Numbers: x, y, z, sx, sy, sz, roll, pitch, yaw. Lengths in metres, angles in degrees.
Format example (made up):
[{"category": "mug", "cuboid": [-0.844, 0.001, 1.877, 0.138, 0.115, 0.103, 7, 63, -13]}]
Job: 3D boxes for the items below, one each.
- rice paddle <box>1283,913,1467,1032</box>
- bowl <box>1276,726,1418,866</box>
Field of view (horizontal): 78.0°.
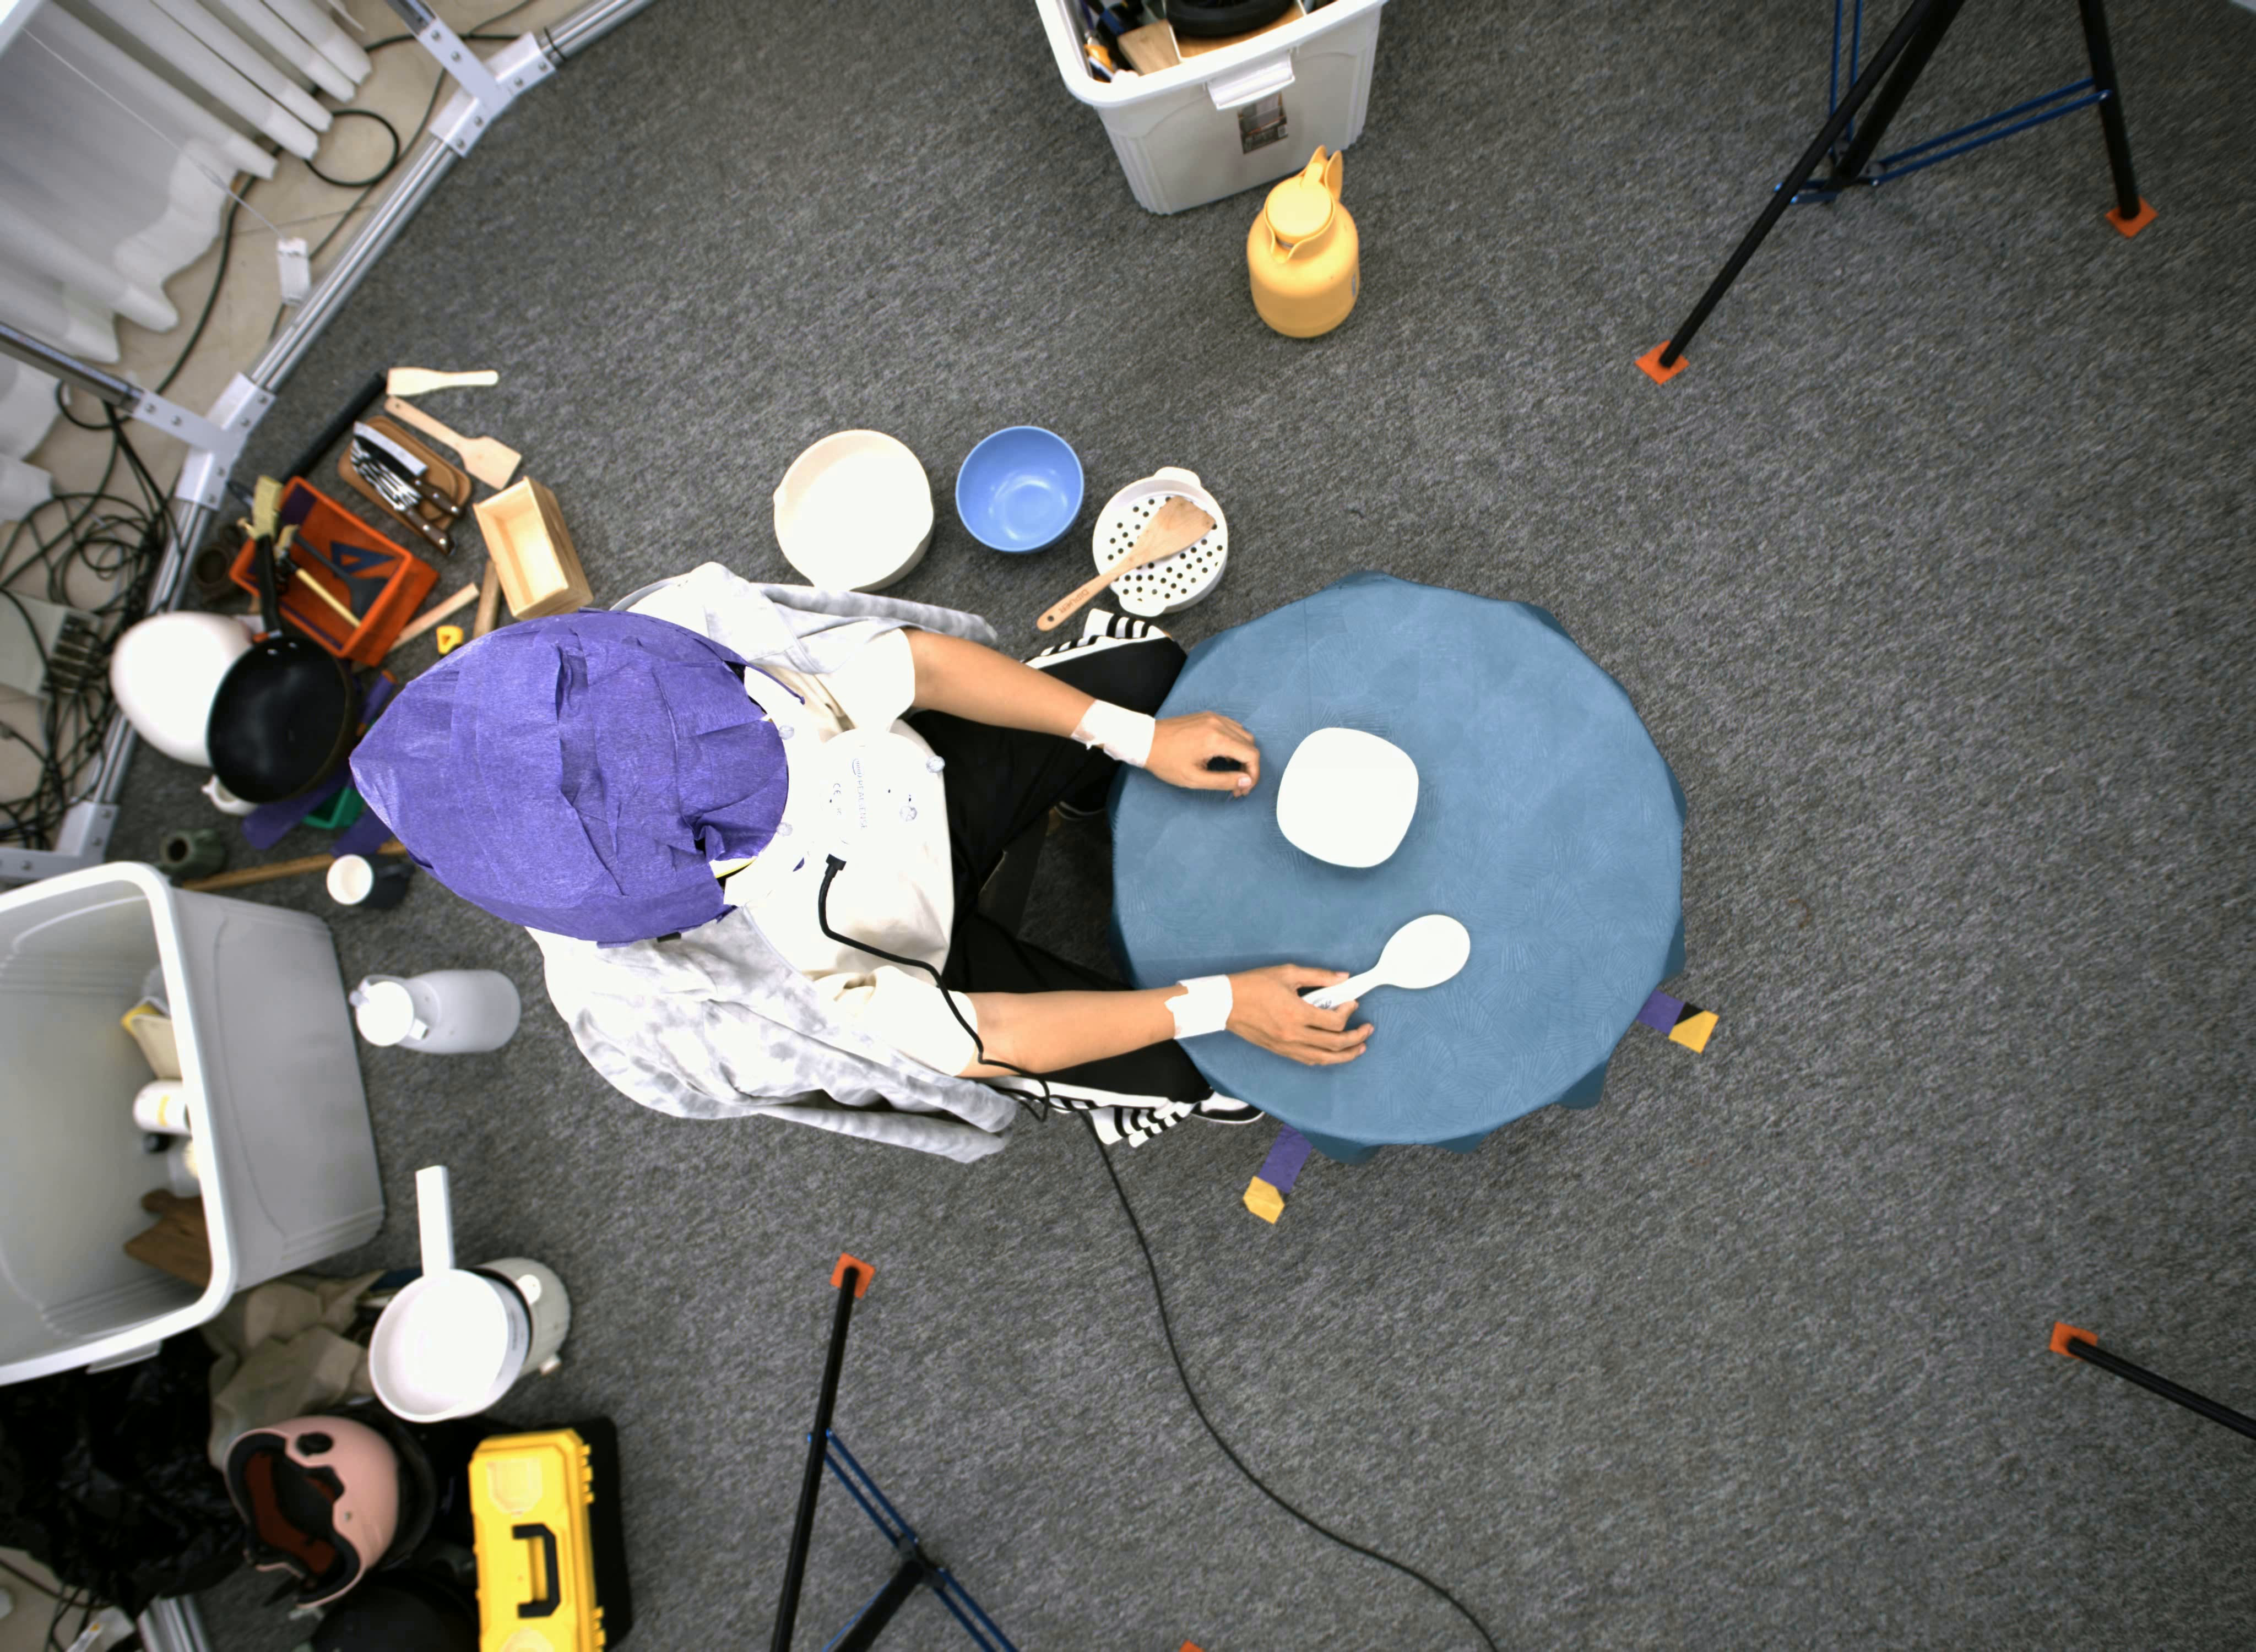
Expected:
[{"category": "rice paddle", "cuboid": [0.258, 0.153, 1.441, 0.206, 0.029, 0.068, -28, 84, 8]}, {"category": "bowl", "cuboid": [0.228, -0.030, 1.442, 0.152, 0.058, 0.151, 0, 88, 8]}]
